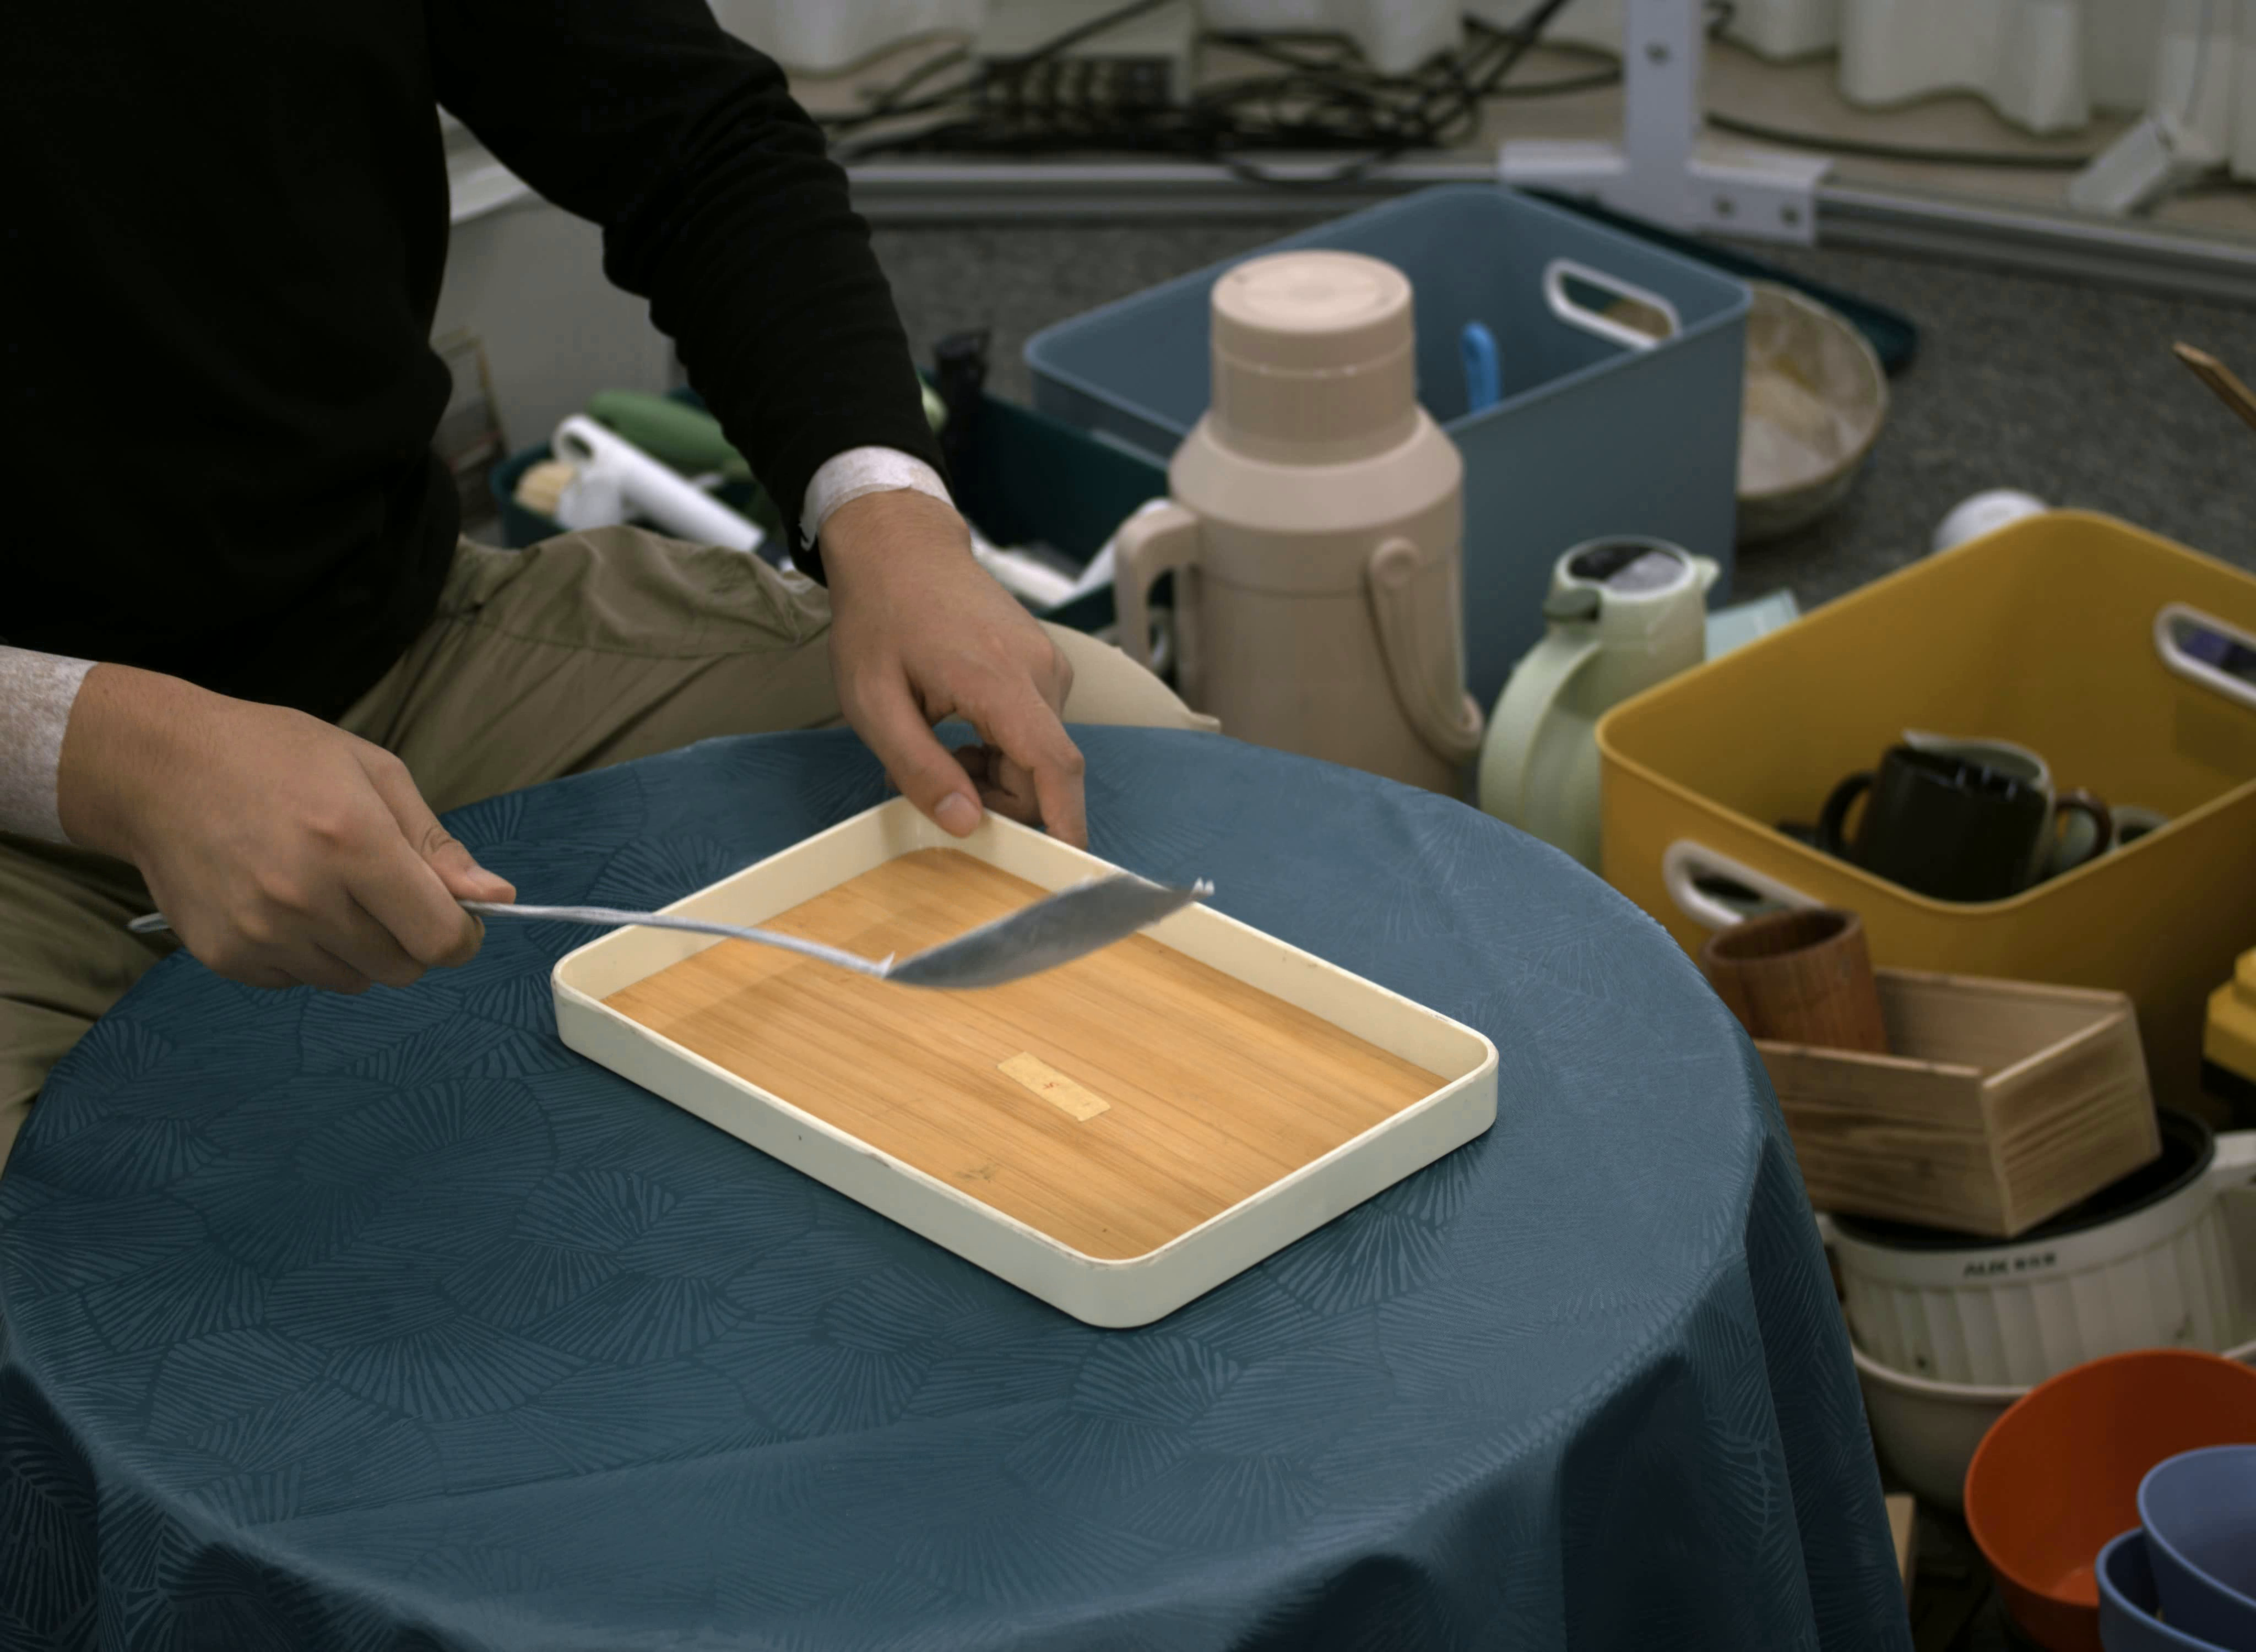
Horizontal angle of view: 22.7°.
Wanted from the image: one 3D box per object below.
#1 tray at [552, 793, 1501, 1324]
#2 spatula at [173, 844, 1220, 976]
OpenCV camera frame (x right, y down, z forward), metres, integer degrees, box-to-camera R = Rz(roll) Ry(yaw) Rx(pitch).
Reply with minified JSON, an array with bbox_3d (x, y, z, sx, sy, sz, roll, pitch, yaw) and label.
[{"bbox_3d":[-0.038,0.074,1.927,0.194,0.027,0.300,-26,35,-37],"label":"tray"},{"bbox_3d":[-0.149,0.024,1.801,0.362,0.045,0.098,3,-5,19],"label":"spatula"}]
